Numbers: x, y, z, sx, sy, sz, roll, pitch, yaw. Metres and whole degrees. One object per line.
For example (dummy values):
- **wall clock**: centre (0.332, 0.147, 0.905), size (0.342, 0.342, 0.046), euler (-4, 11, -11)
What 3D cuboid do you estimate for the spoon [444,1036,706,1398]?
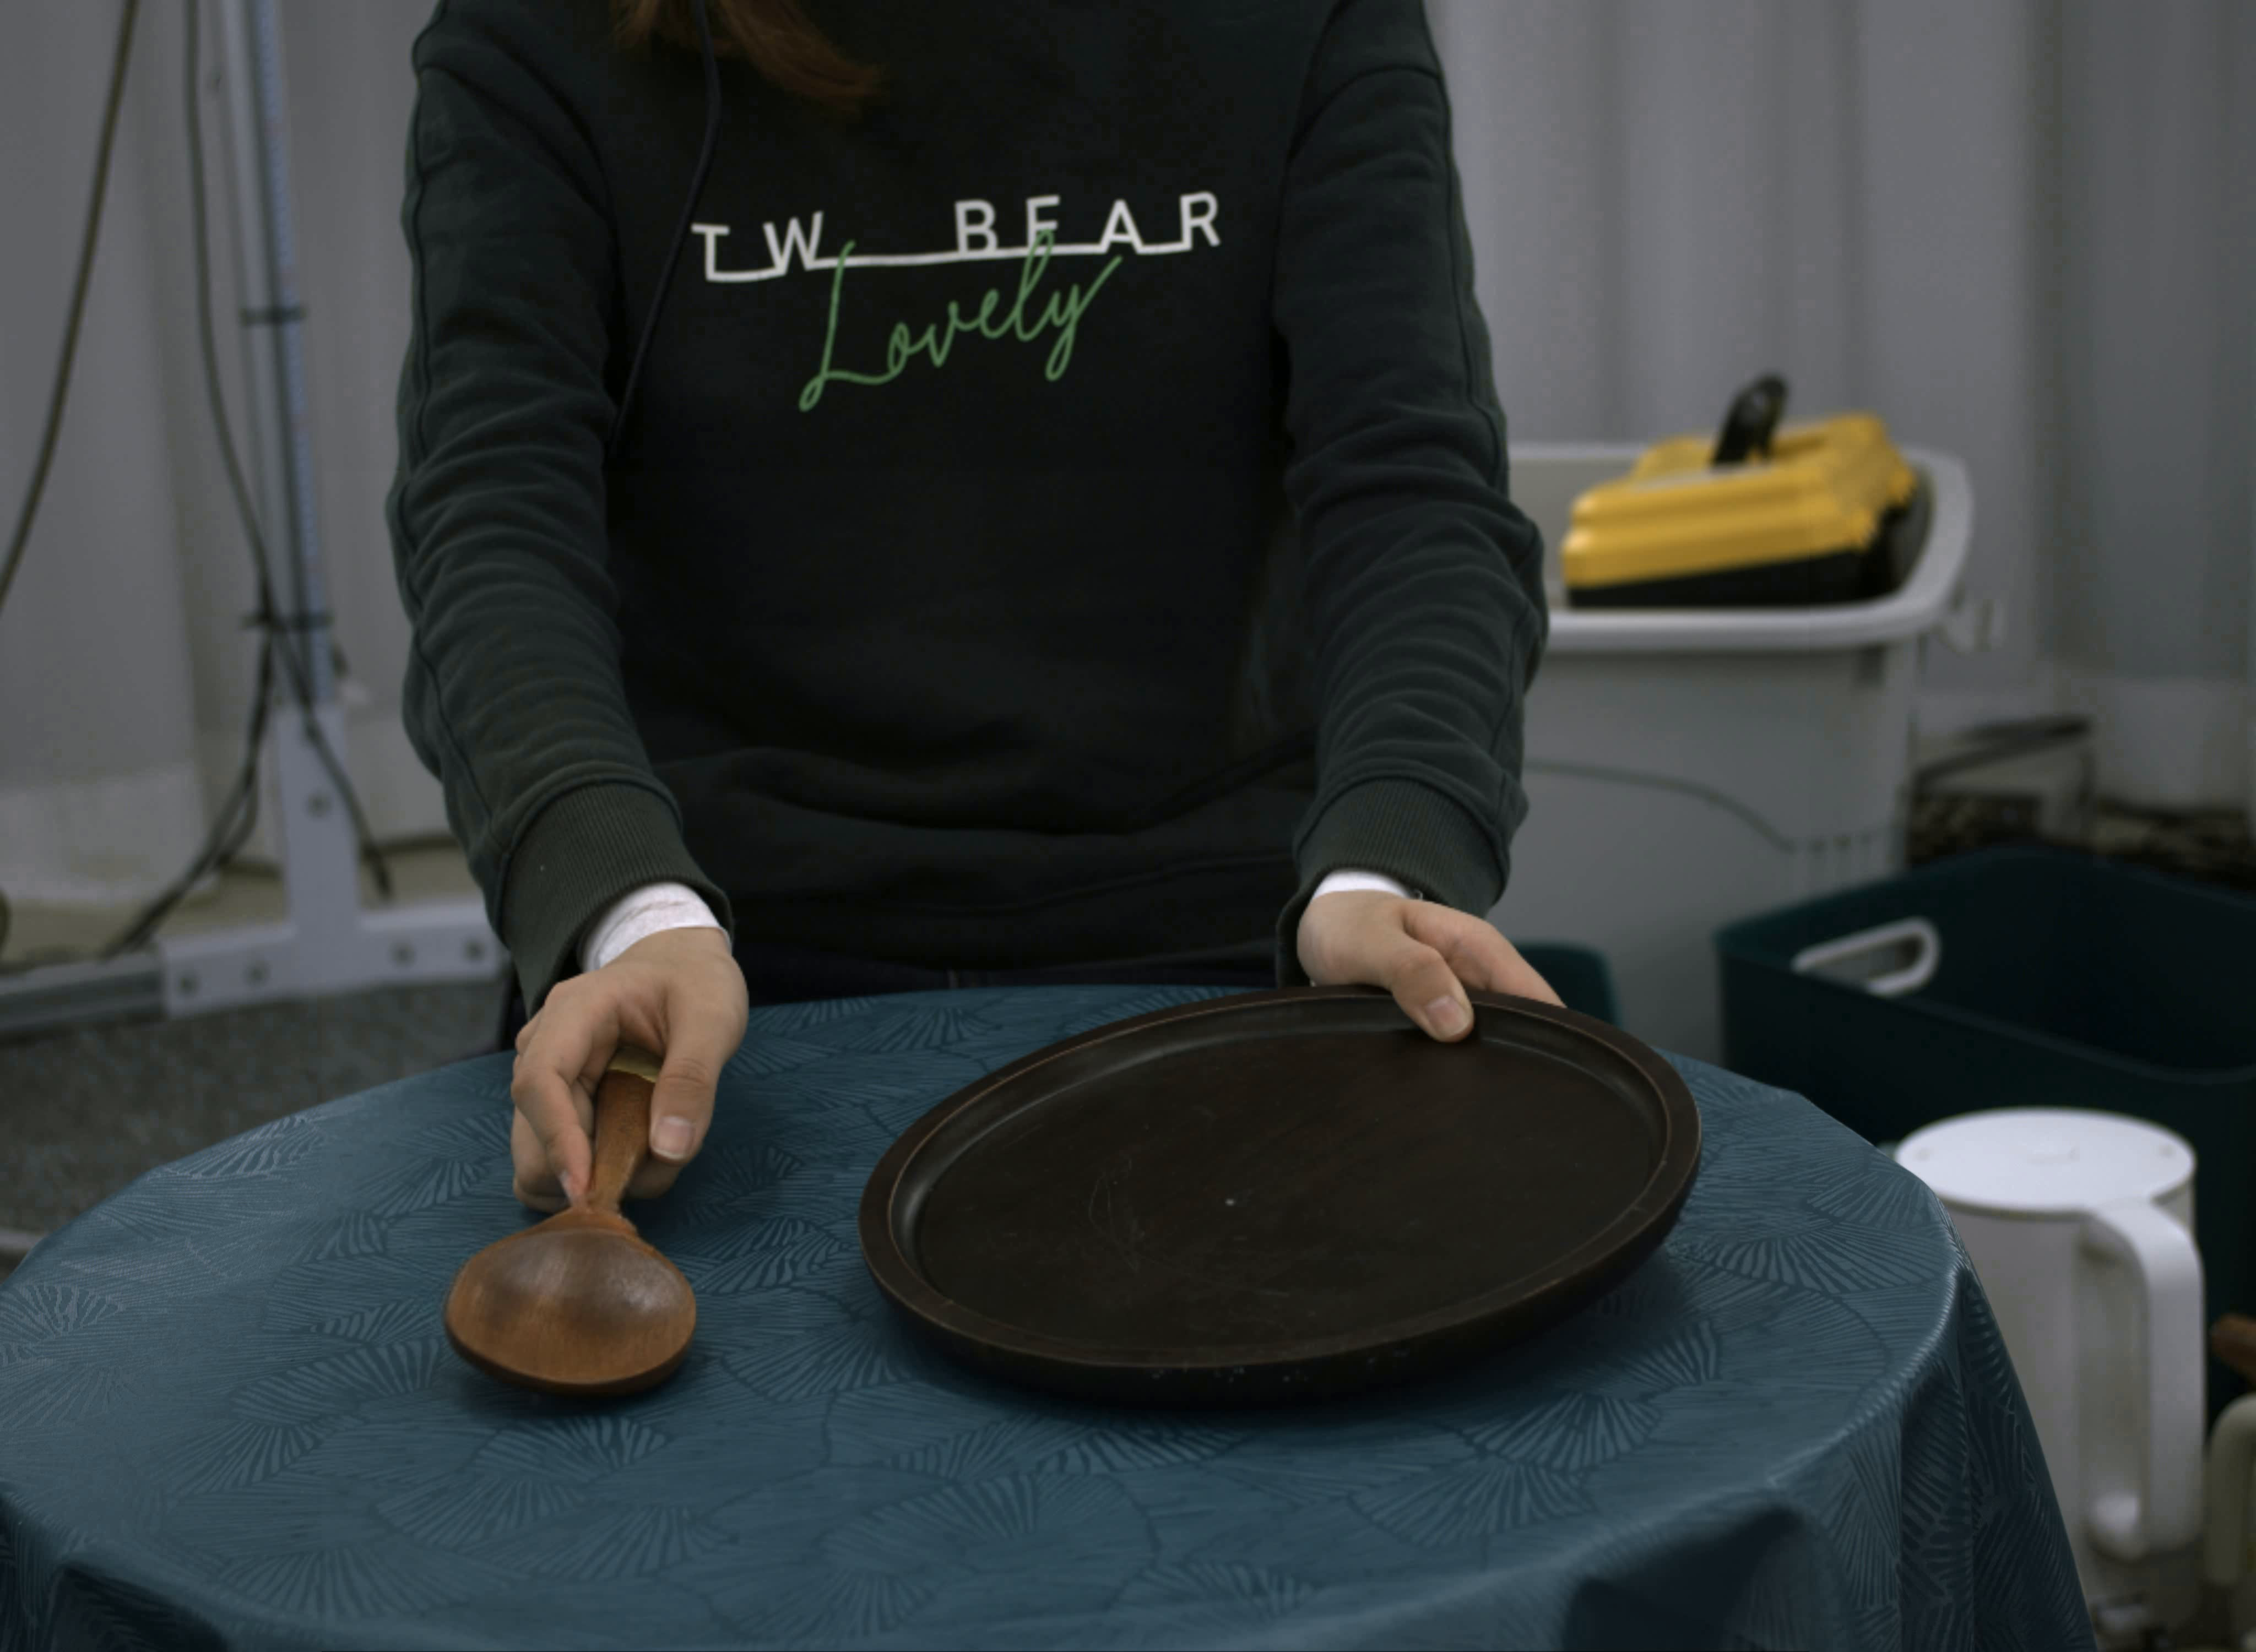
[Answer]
- **spoon**: centre (-0.158, 0.118, 1.643), size (0.075, 0.017, 0.218), euler (8, 24, -1)

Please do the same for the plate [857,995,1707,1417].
- **plate**: centre (0.046, 0.109, 1.621), size (0.254, 0.029, 0.257), euler (-6, 23, 2)
